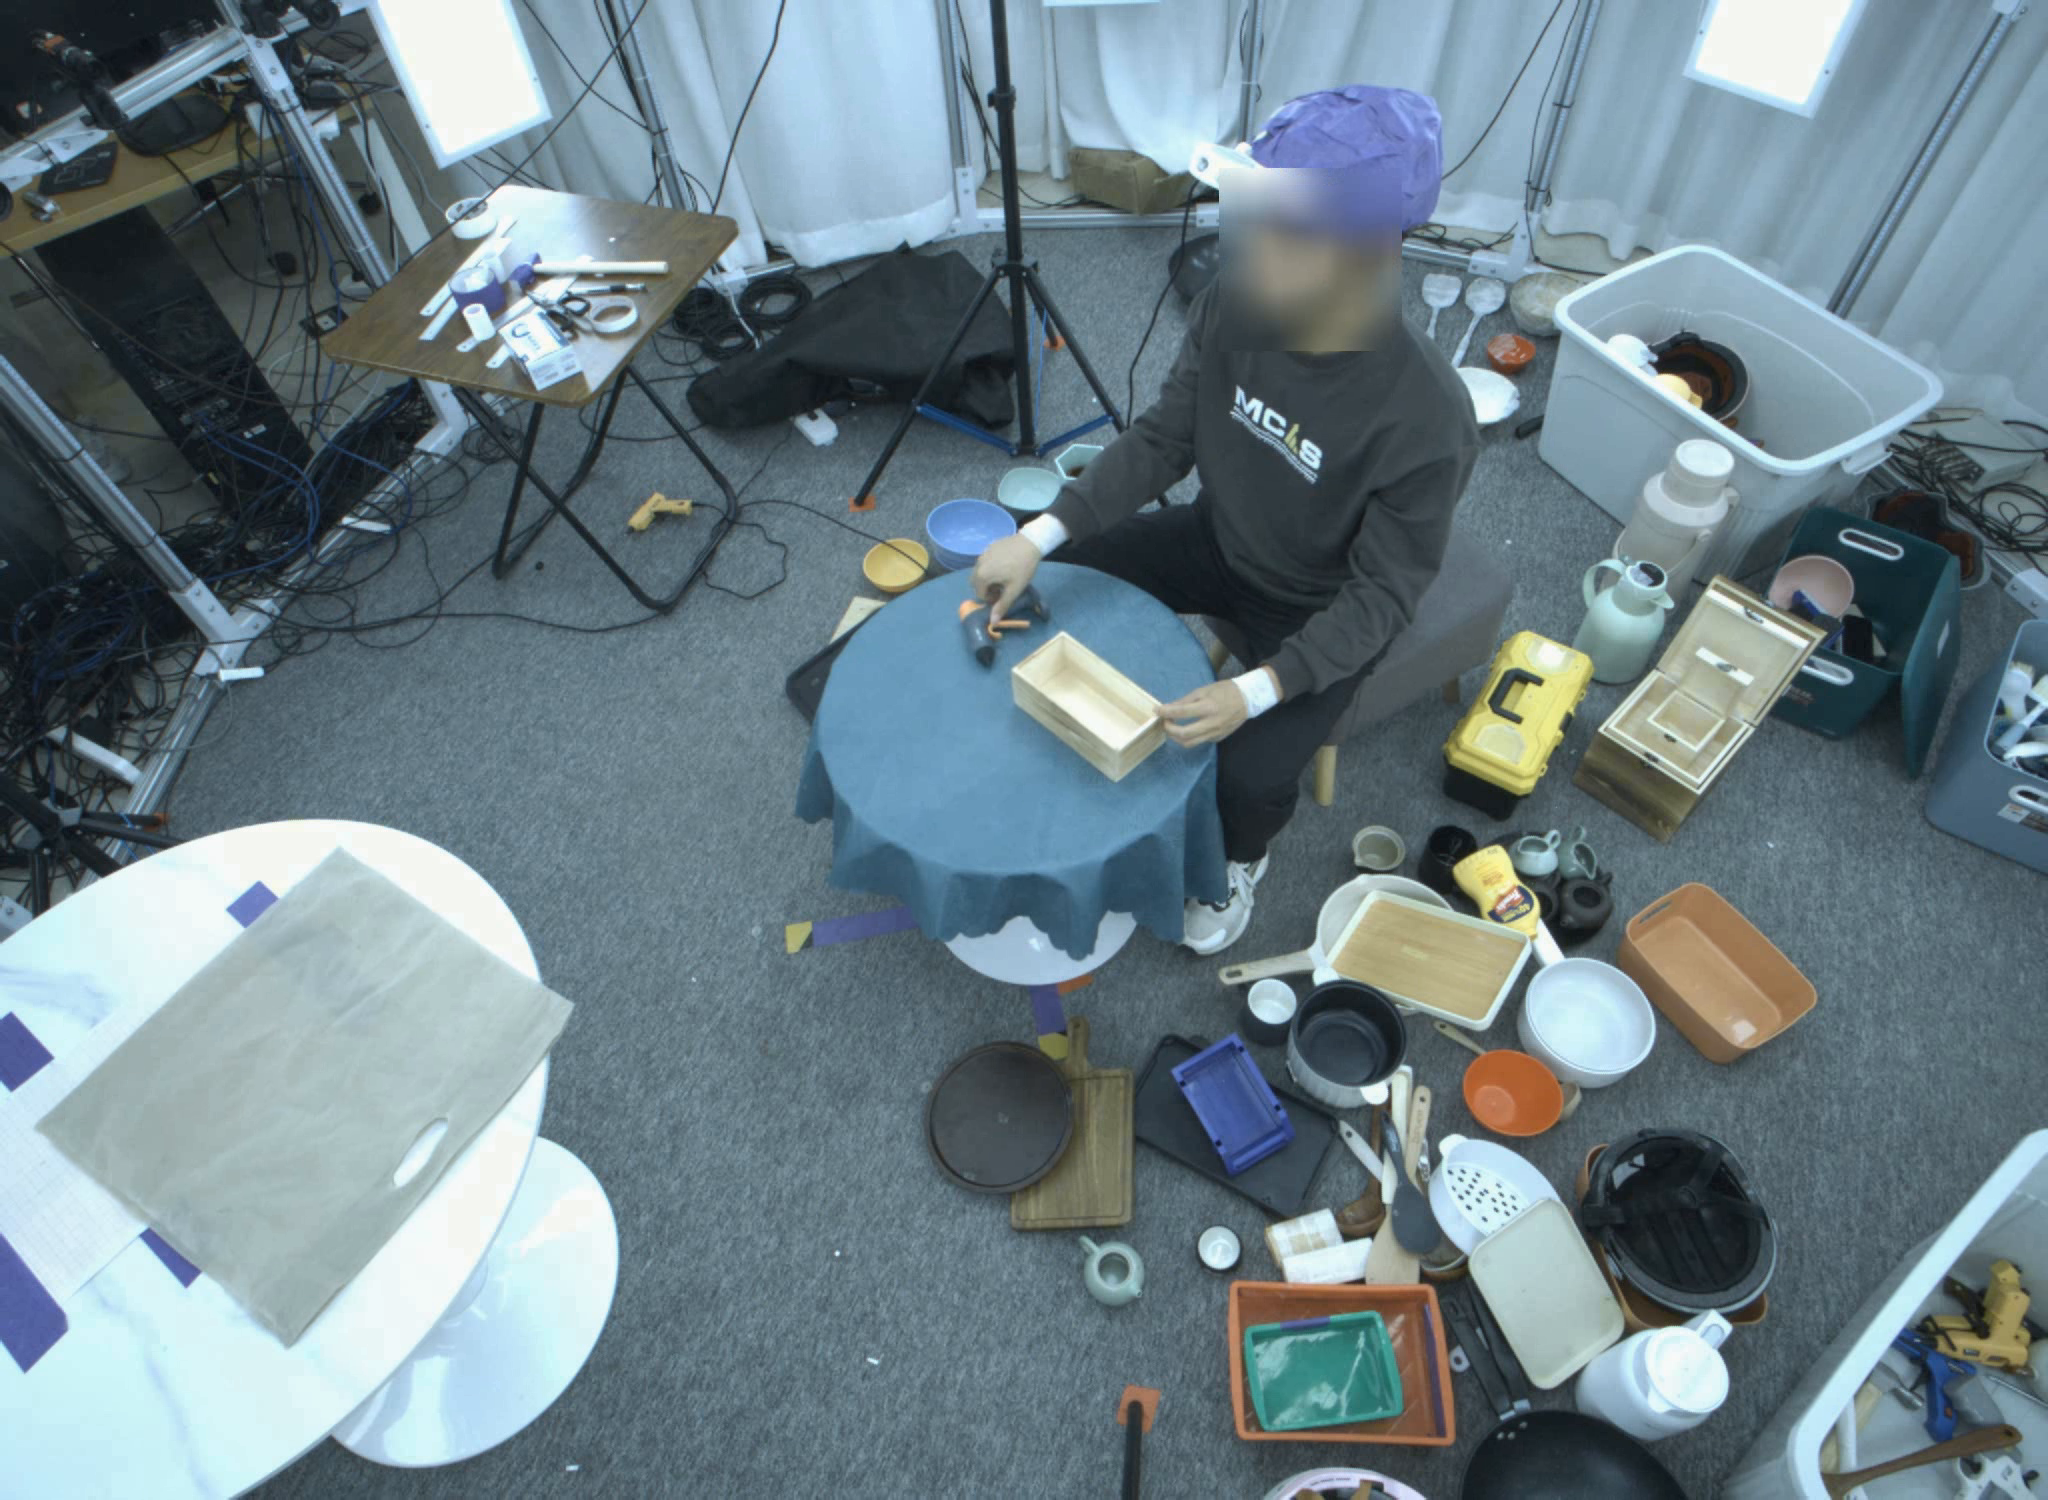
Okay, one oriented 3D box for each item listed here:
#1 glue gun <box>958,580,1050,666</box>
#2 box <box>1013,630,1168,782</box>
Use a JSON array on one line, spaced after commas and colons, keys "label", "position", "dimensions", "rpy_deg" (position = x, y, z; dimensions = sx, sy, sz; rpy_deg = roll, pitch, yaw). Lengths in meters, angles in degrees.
[{"label": "glue gun", "position": [-0.033, -0.199, 1.910], "dimensions": [0.141, 0.041, 0.116], "rpy_deg": [-31, 63, -15]}, {"label": "box", "position": [0.094, -0.066, 1.780], "dimensions": [0.108, 0.081, 0.207], "rpy_deg": [-39, 61, -23]}]
